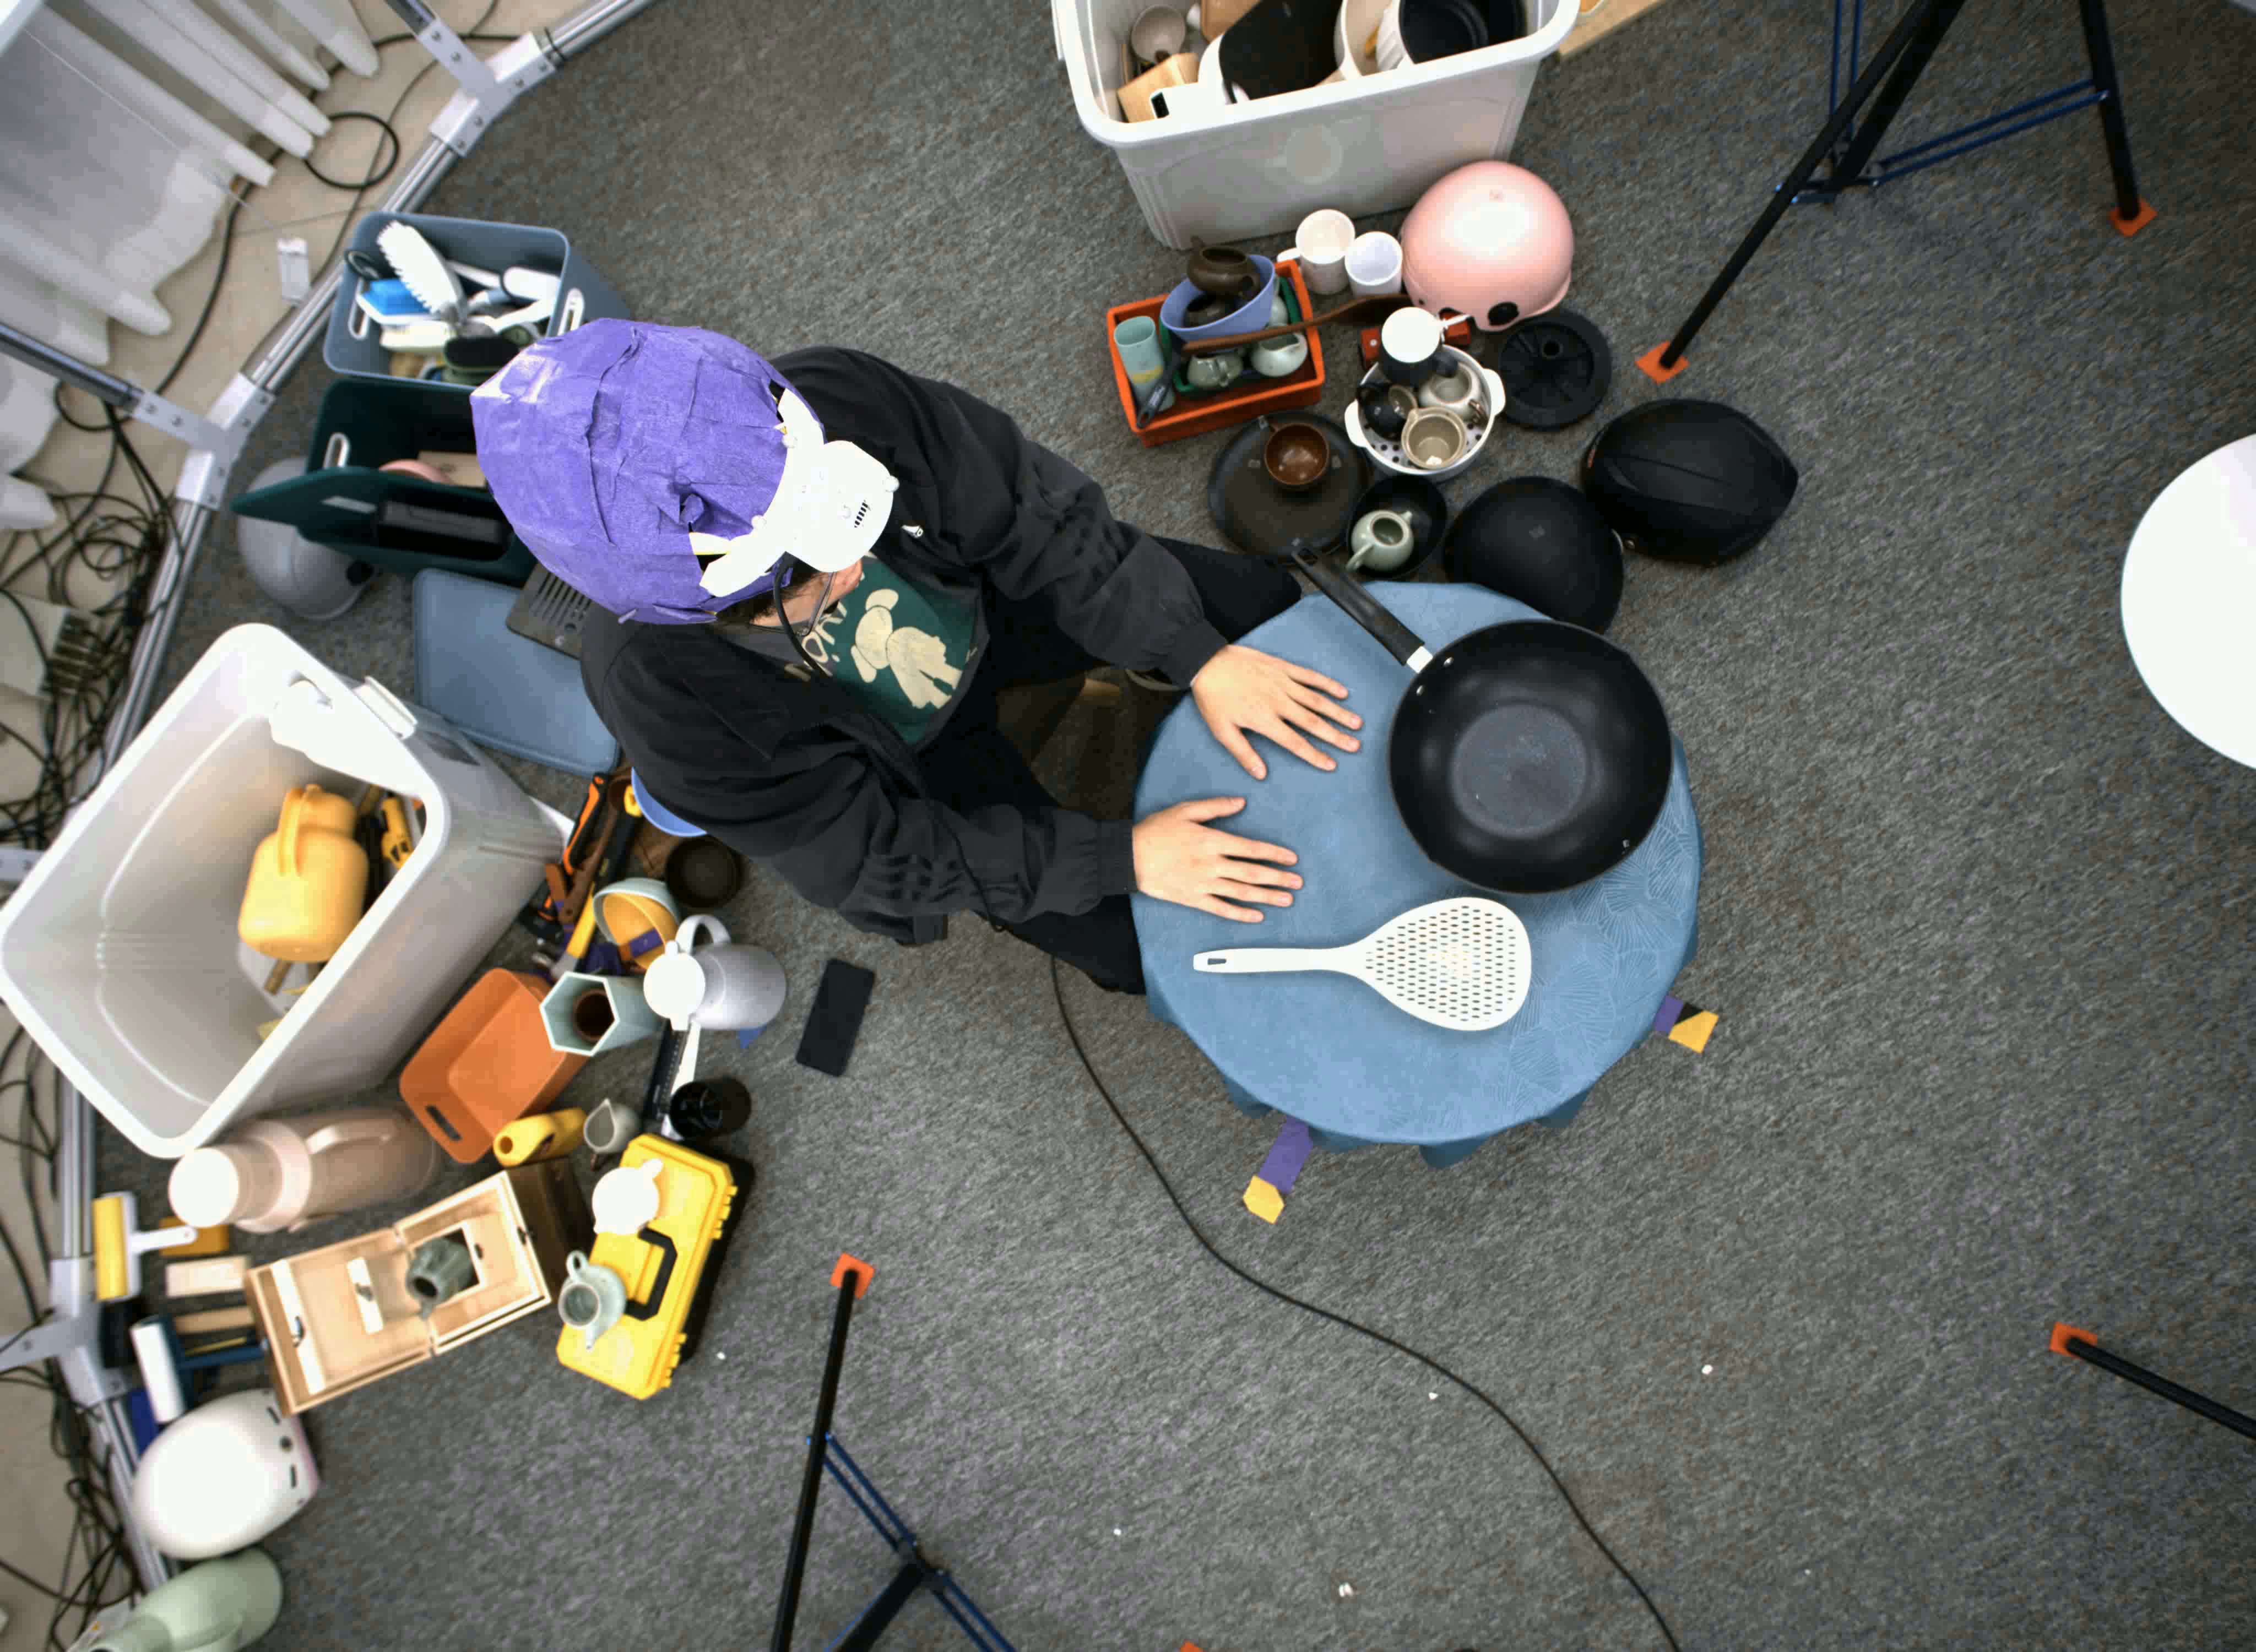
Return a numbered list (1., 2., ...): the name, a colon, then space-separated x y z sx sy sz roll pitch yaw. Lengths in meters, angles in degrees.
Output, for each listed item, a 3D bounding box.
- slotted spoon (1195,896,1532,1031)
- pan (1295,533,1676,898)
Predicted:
1. slotted spoon: 0.240 0.139 1.440 0.349 0.050 0.136 0 88 11
2. pan: 0.341 -0.129 1.413 0.461 0.087 0.289 45 95 11
